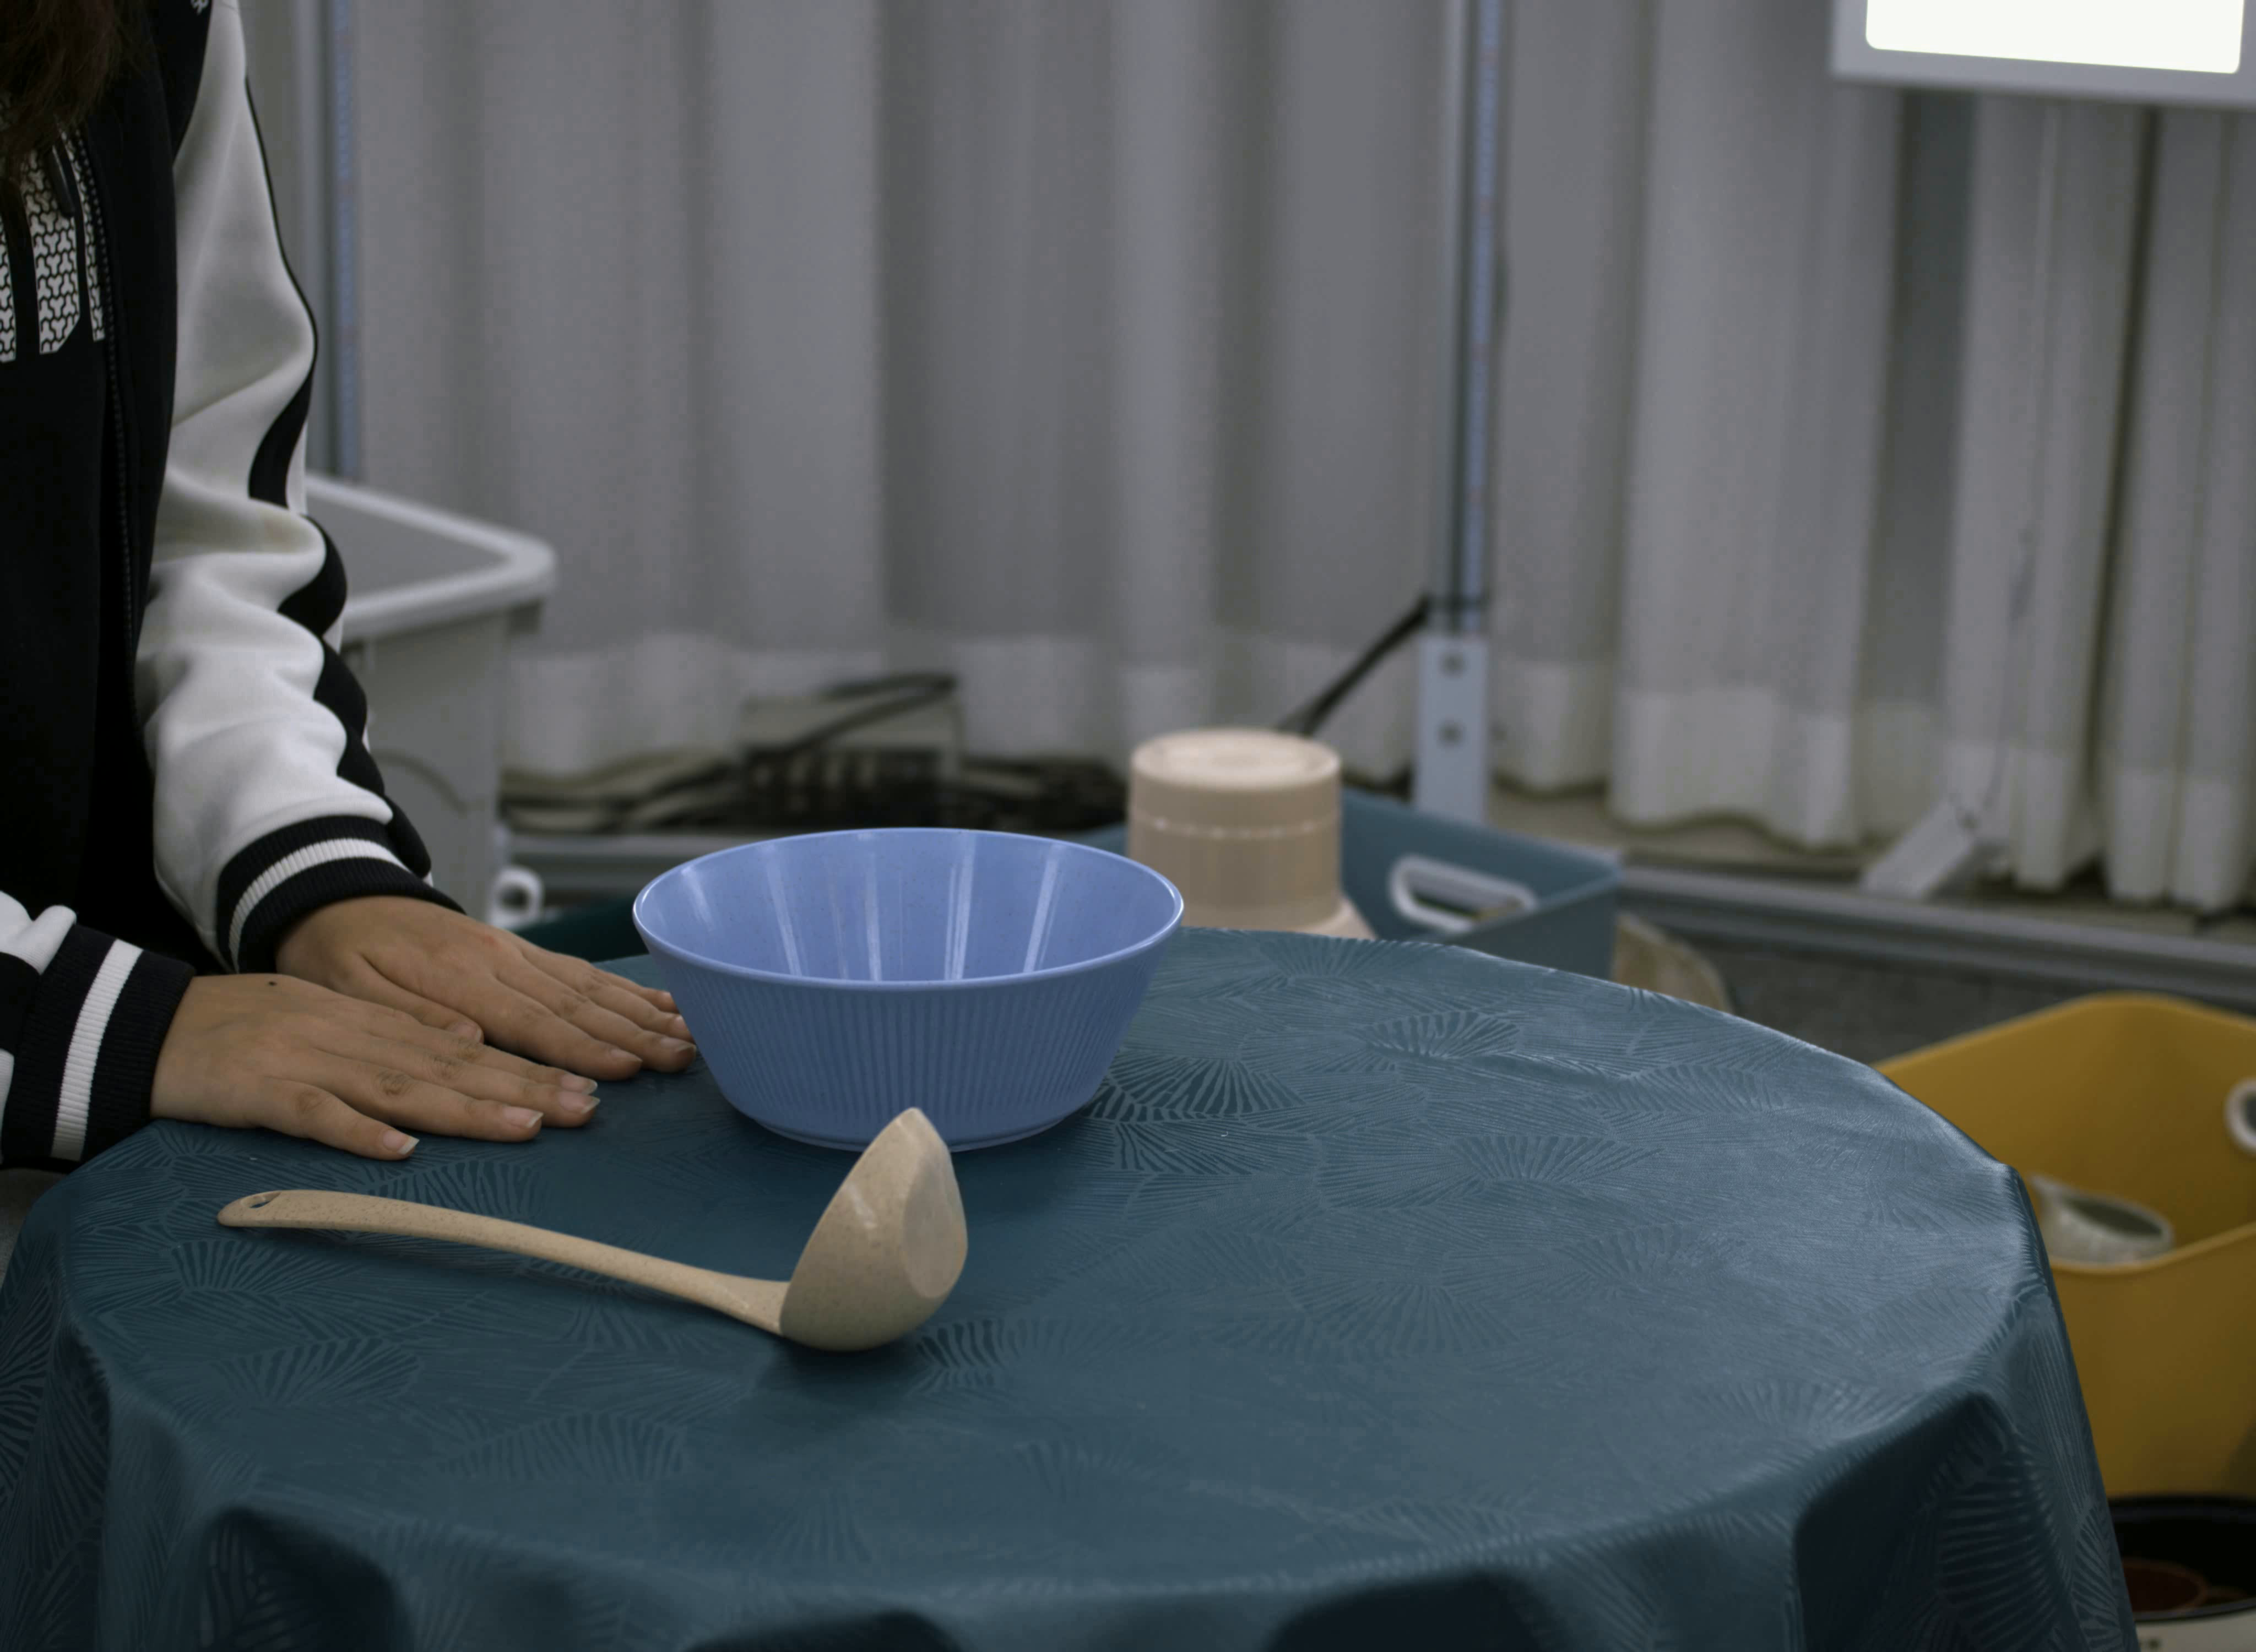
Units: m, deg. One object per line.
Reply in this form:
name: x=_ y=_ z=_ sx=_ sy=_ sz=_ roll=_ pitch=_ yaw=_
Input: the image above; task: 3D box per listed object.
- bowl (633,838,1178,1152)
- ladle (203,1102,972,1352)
bowl: x=-0.071 y=0.056 z=1.691 sx=0.175 sy=0.071 sz=0.175 roll=1 pitch=15 yaw=0
ladle: x=-0.166 y=0.102 z=1.519 sx=0.252 sy=0.073 sz=0.072 roll=7 pitch=30 yaw=23
